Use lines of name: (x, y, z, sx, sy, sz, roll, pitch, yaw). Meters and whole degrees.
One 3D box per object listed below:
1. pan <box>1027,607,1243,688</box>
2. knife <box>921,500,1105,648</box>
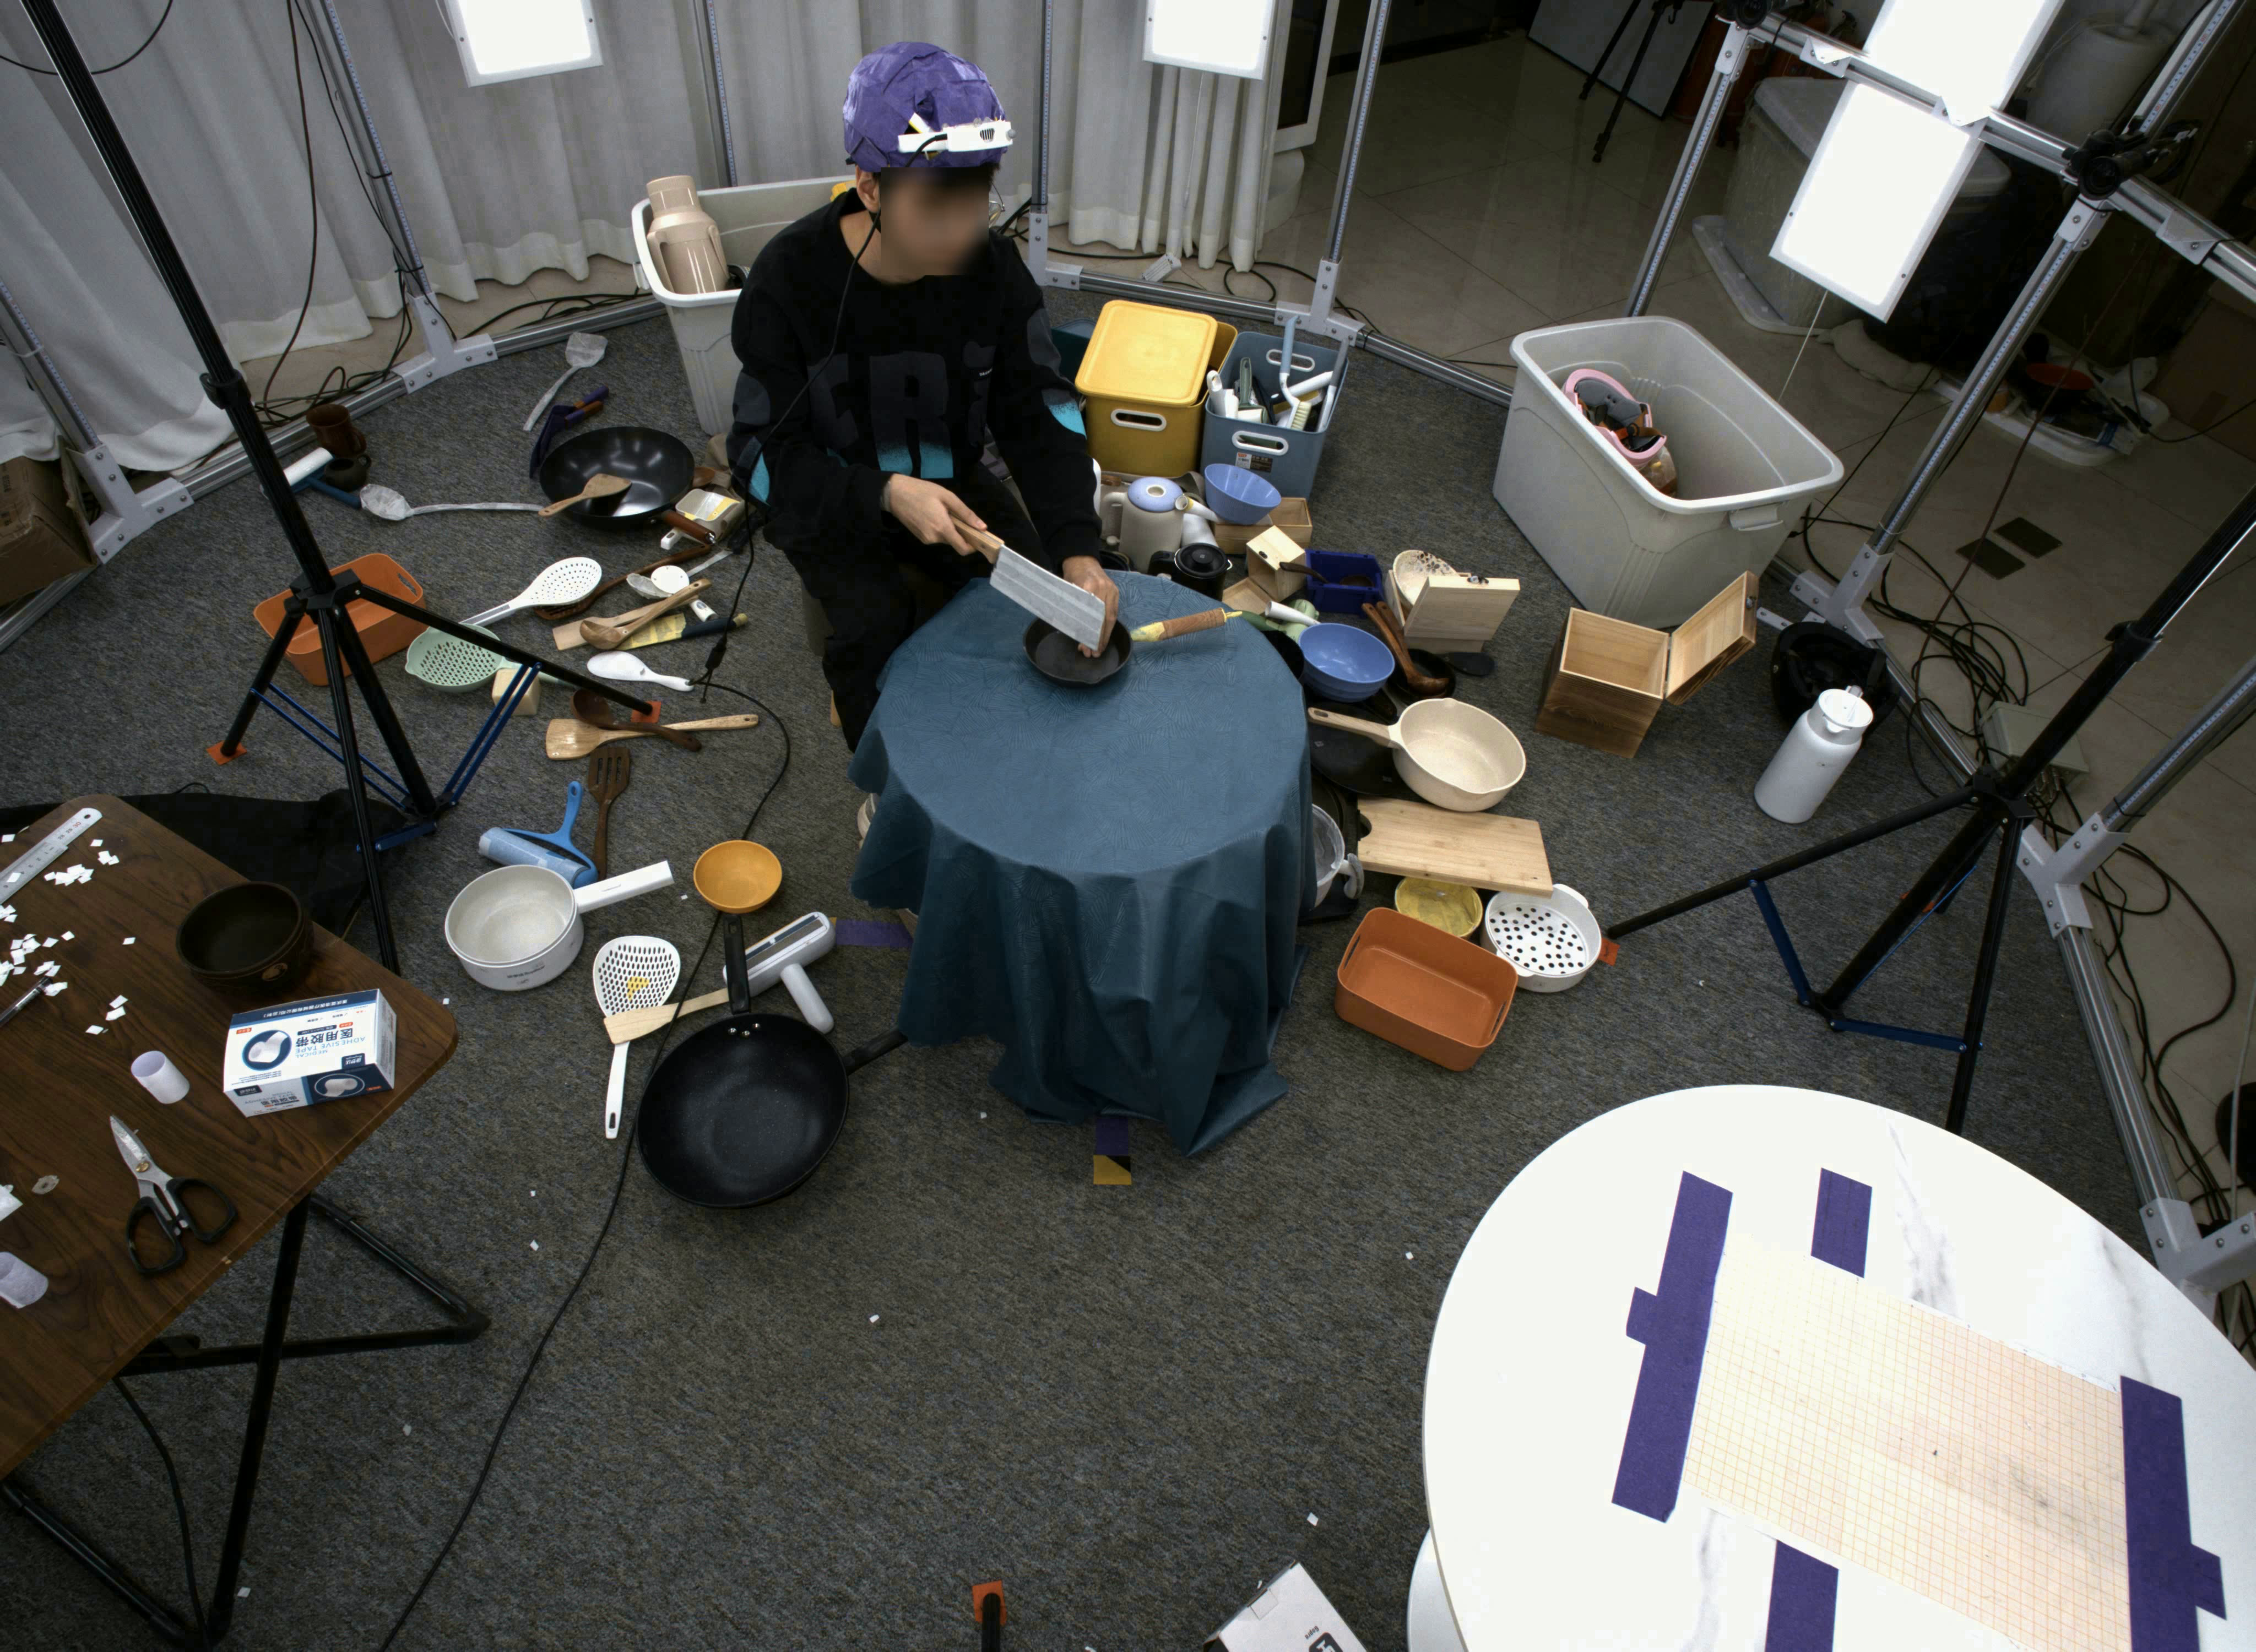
pan: (0.014, -0.274, 1.876, 0.324, 0.048, 0.173, -11, 50, -12)
knife: (-0.159, -0.361, 1.811, 0.316, 0.112, 0.022, 35, 55, 6)
